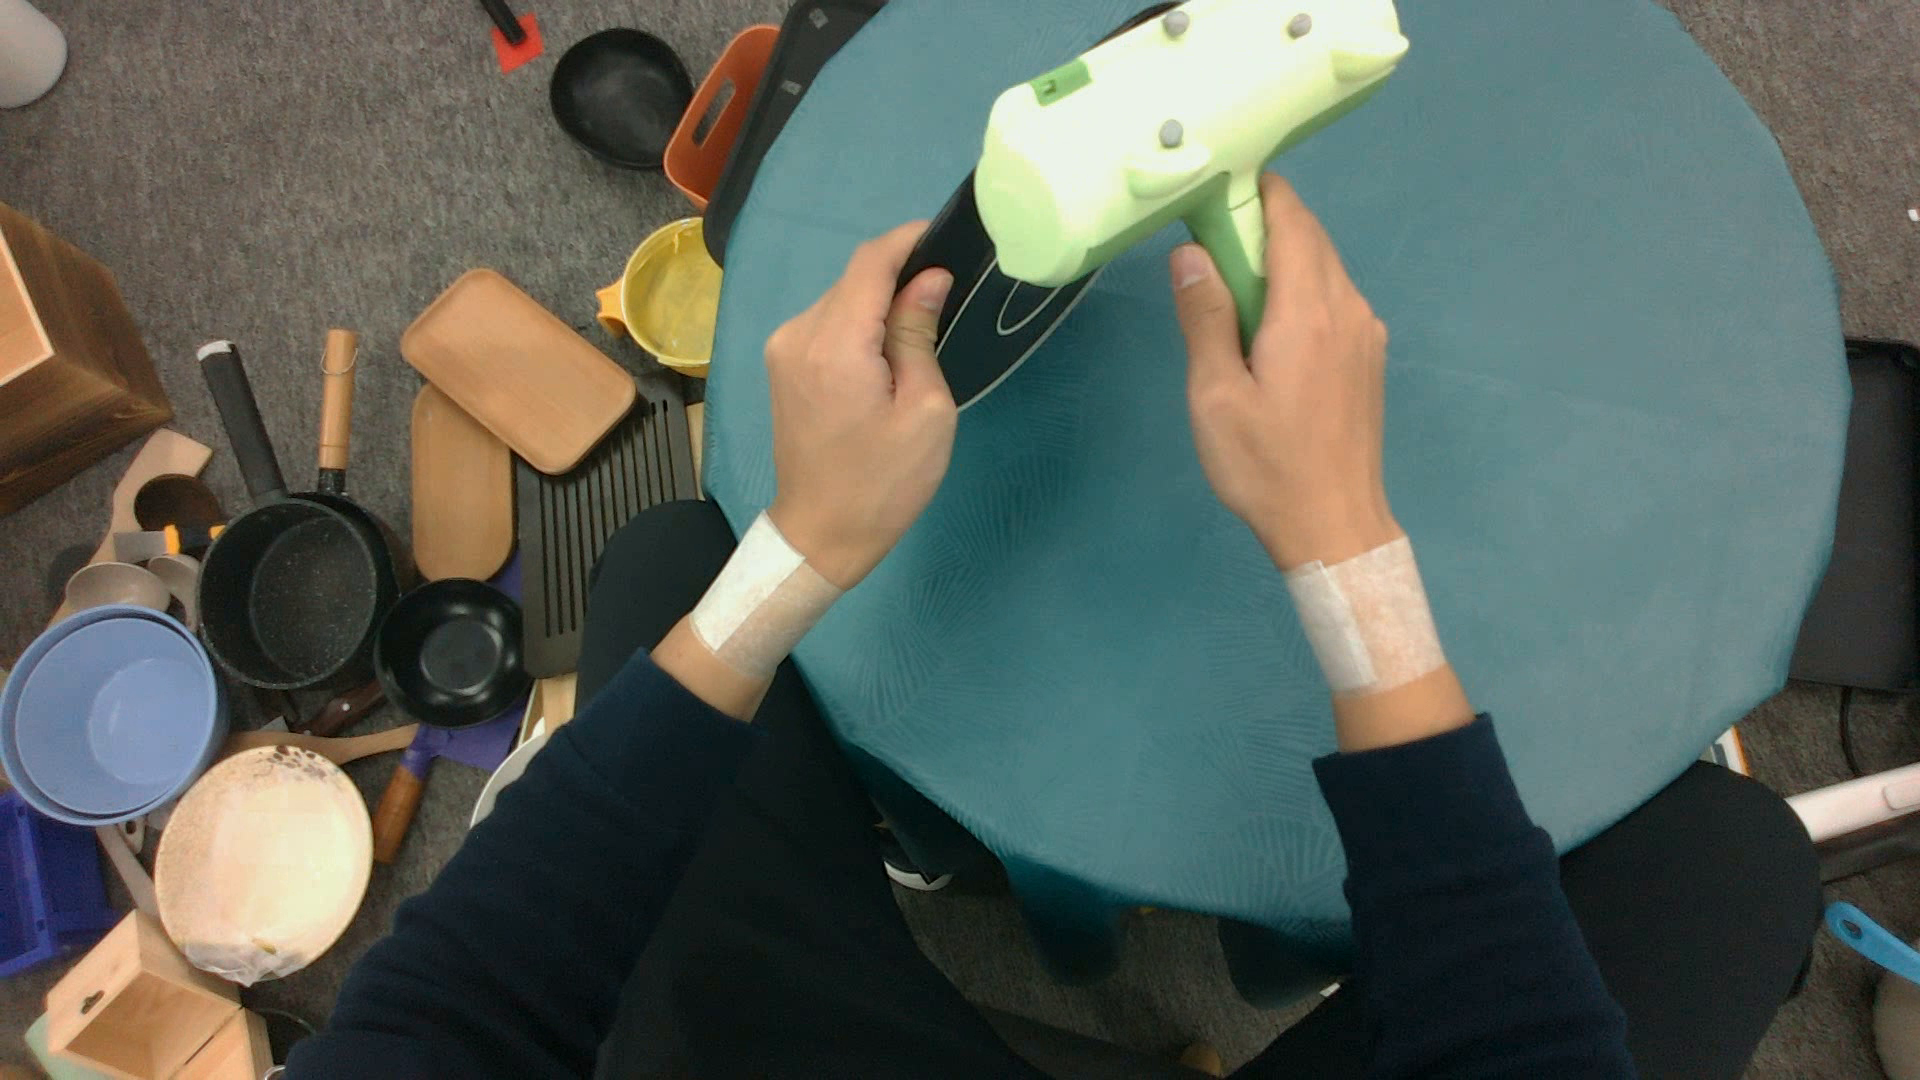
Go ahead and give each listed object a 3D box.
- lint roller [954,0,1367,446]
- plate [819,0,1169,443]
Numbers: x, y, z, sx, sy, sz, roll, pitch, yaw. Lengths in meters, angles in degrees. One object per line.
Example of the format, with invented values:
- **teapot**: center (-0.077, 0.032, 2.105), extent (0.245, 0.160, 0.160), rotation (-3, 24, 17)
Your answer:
- **lint roller**: center (0.110, -0.121, 0.528), extent (0.199, 0.082, 0.183), rotation (-37, 103, -30)
- **plate**: center (0.027, -0.135, 0.632), extent (0.023, 0.244, 0.244), rotation (40, 83, 10)
